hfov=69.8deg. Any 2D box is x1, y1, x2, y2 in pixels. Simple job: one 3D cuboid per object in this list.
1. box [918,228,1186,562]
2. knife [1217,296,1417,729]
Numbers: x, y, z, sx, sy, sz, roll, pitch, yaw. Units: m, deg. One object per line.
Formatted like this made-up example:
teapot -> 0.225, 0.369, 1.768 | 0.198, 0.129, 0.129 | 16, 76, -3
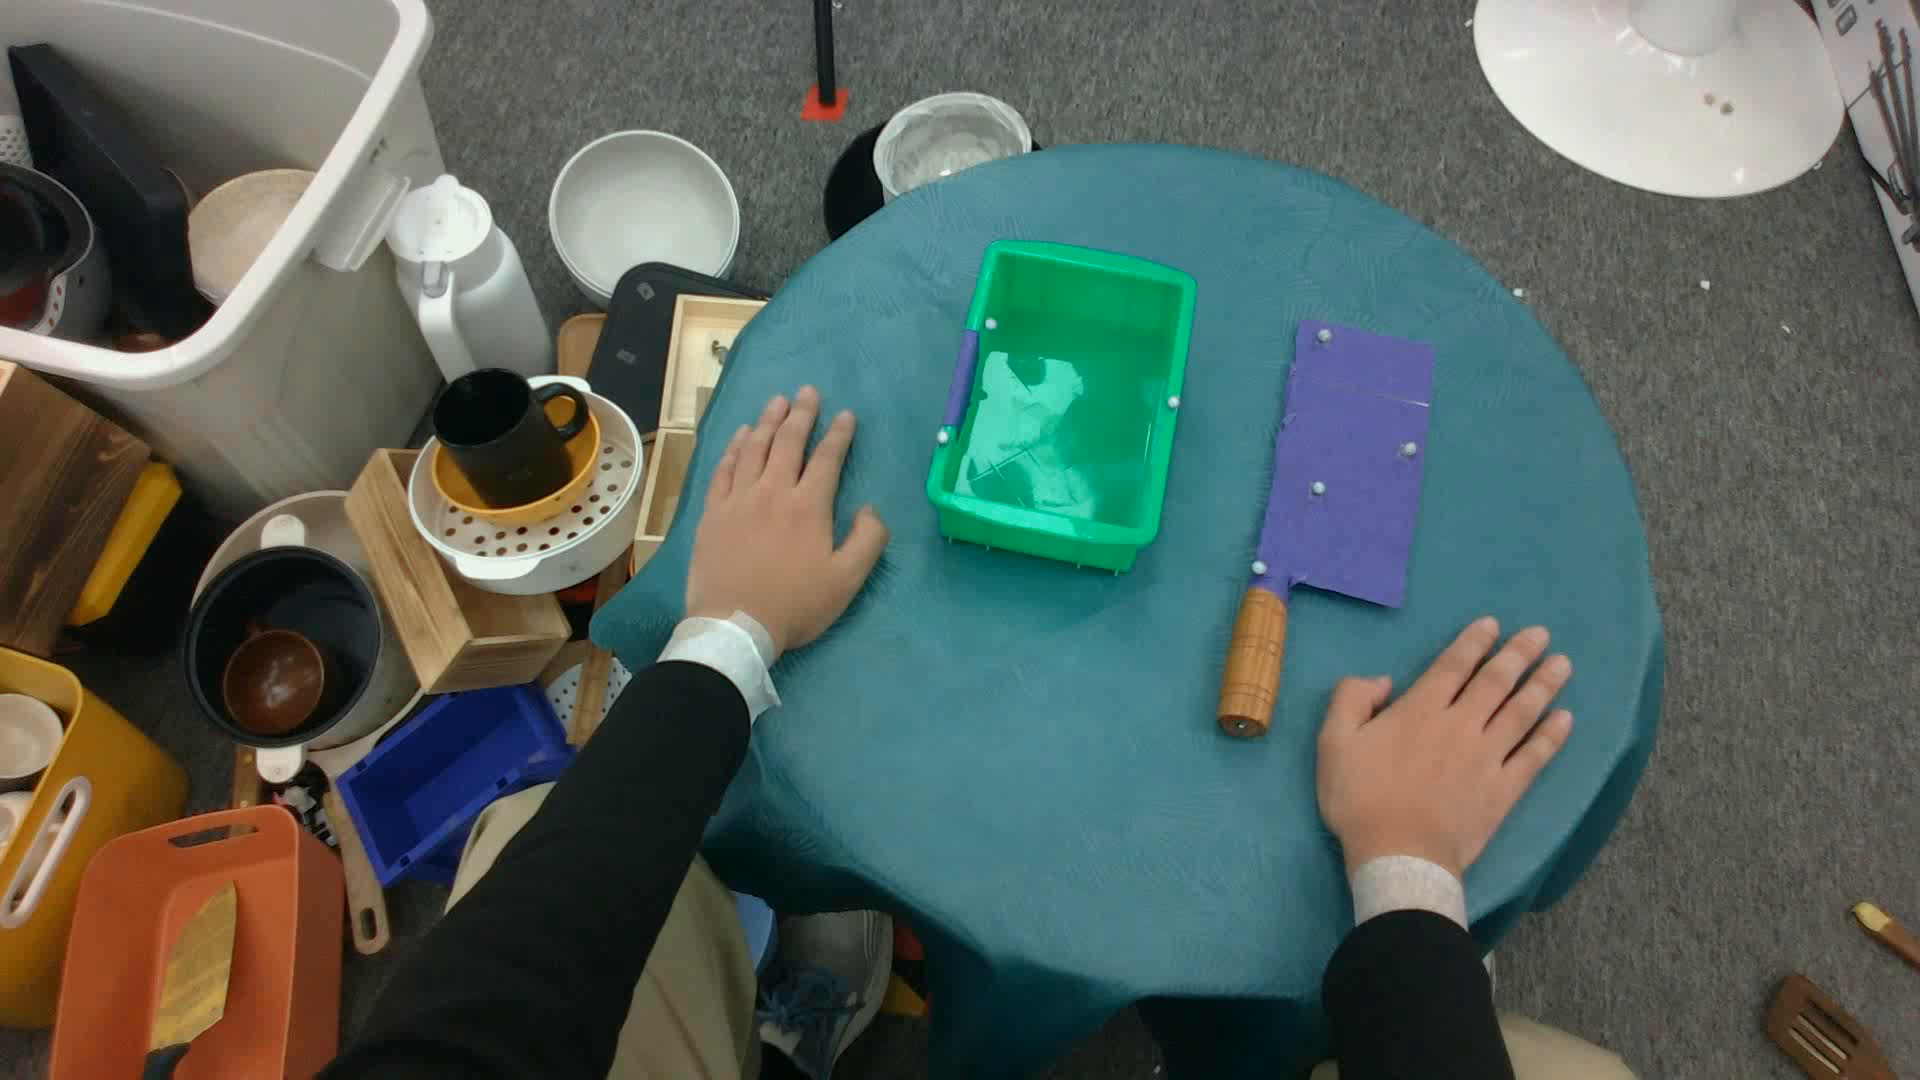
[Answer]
box -> 0.058, -0.088, 0.858 | 0.138, 0.065, 0.211 | 10, 64, 4
knife -> 0.227, -0.023, 0.854 | 0.104, 0.032, 0.316 | 14, 62, 4
